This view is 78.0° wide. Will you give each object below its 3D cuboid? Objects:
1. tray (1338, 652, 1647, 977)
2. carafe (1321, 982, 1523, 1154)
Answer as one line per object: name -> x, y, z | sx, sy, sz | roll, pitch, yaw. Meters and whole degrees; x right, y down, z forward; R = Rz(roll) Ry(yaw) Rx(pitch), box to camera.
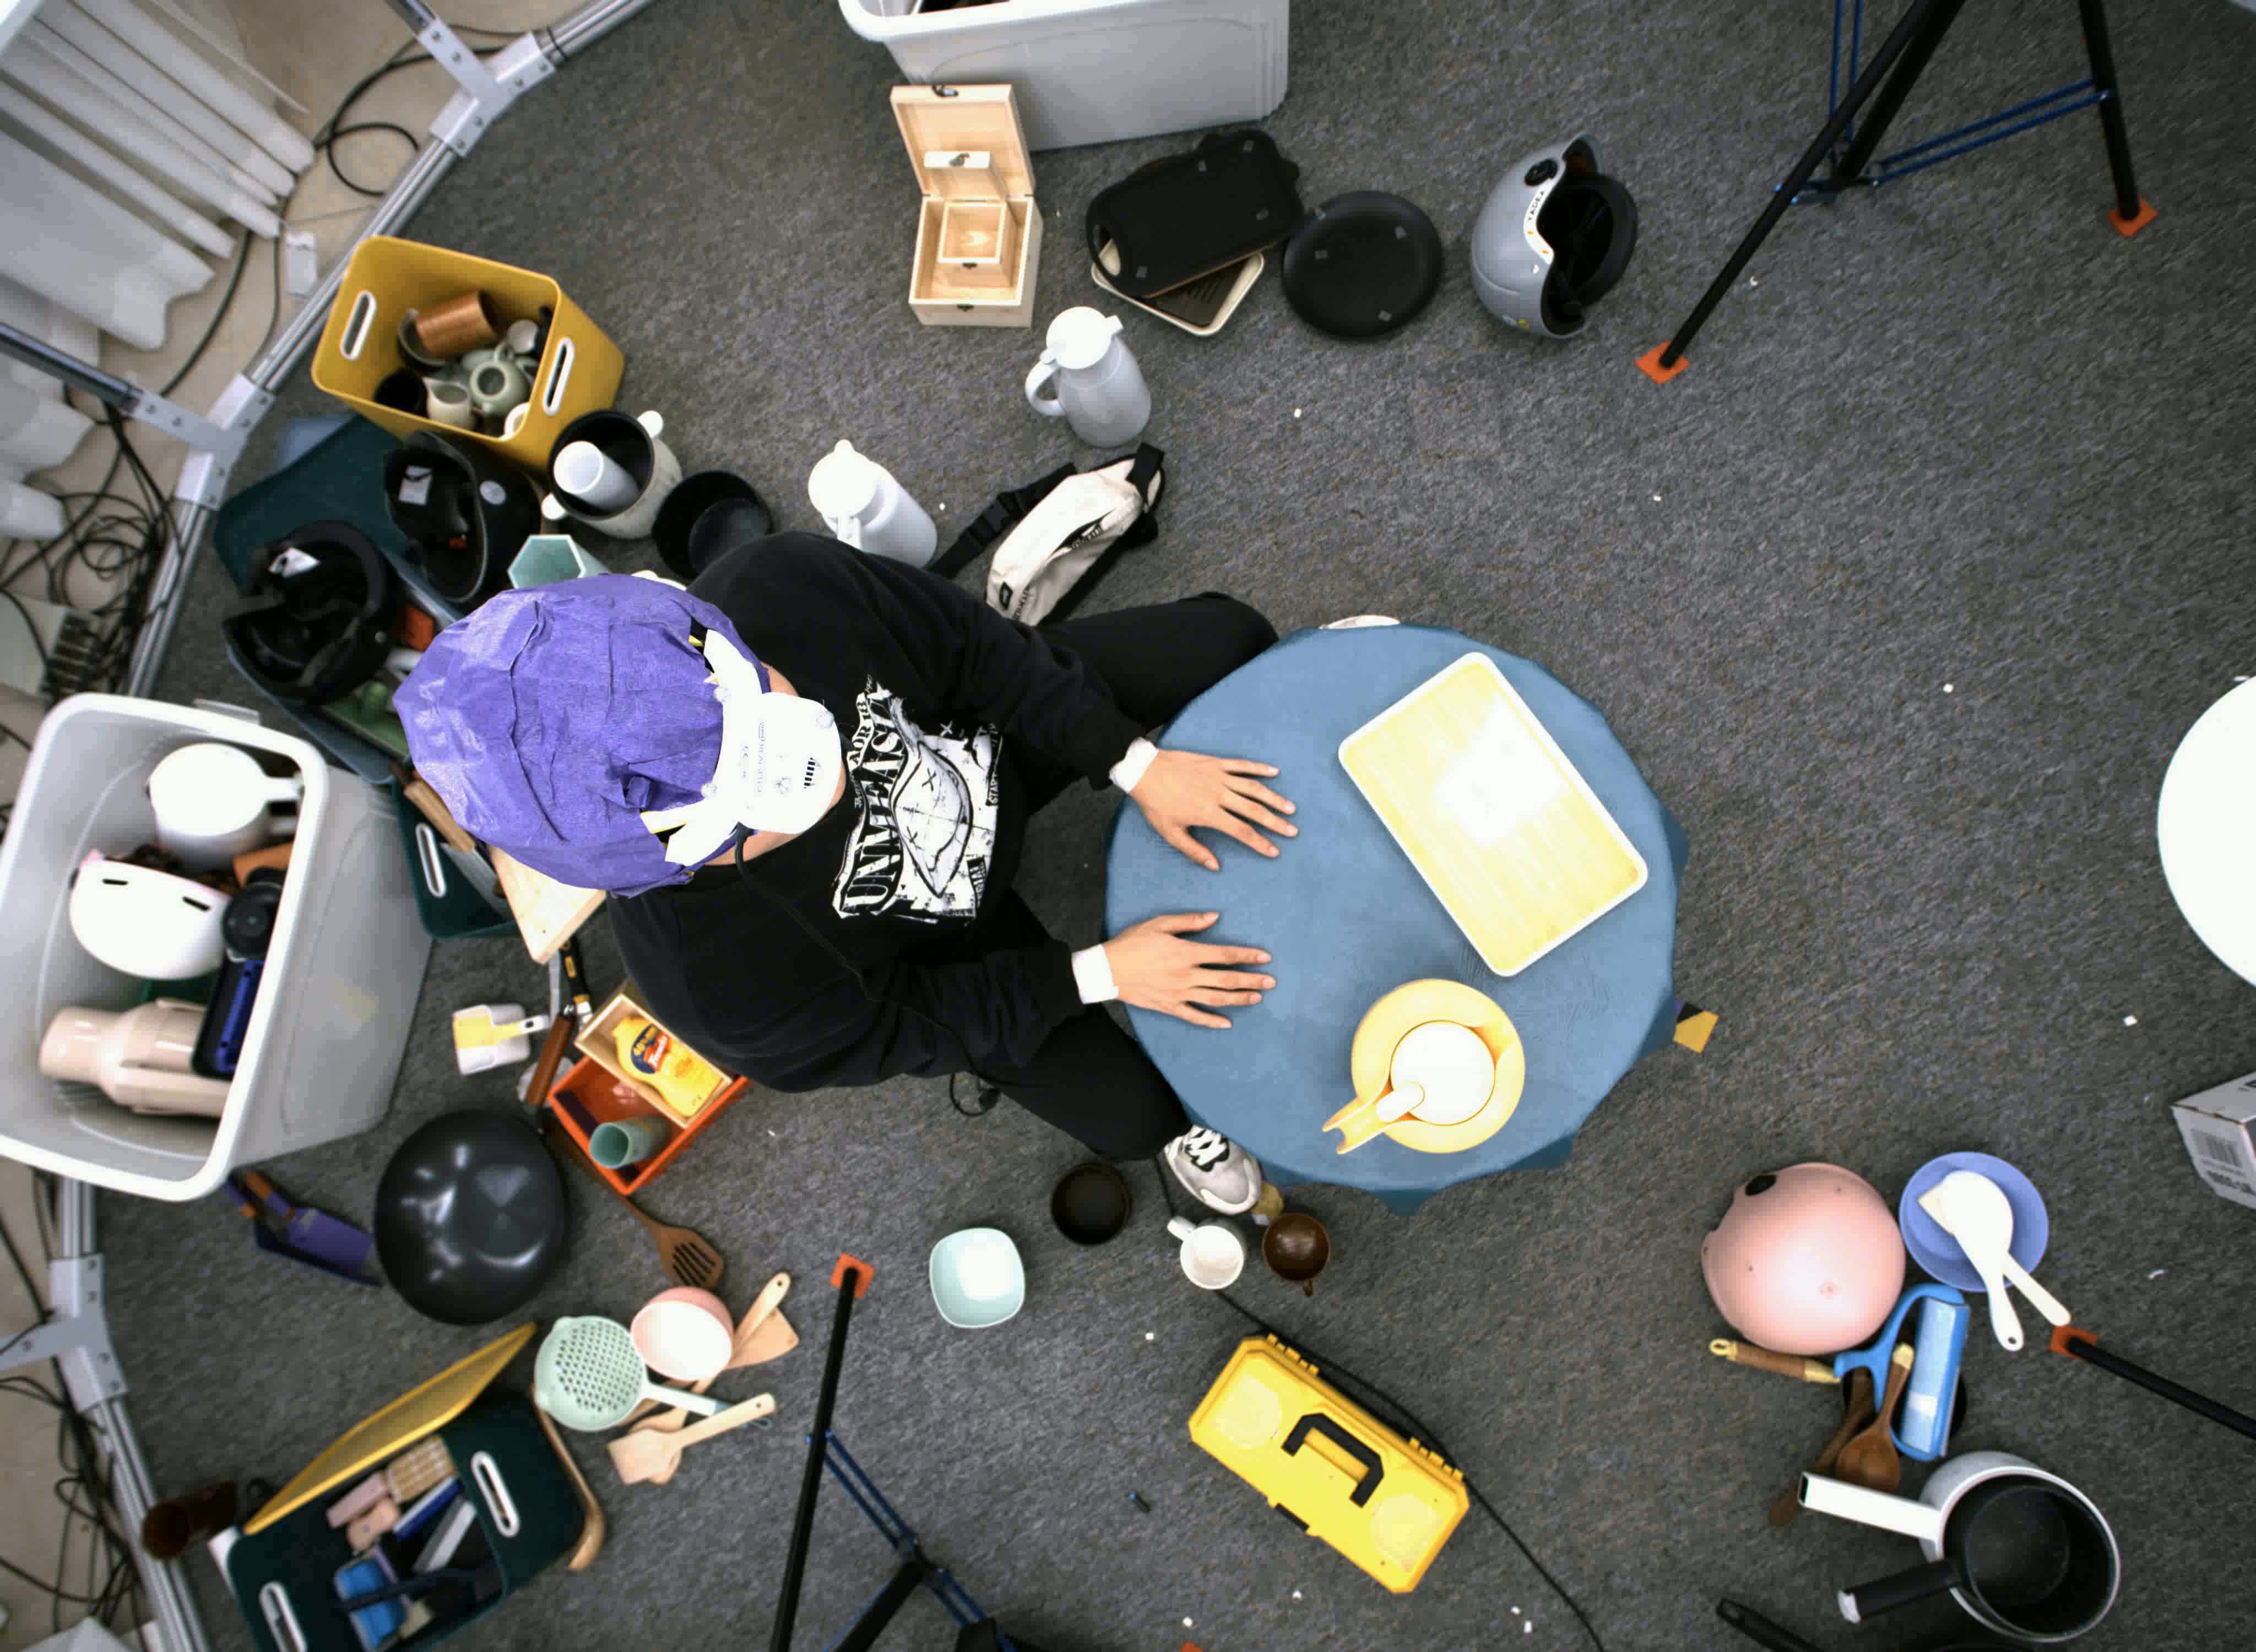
tray -> 0.376, -0.015, 1.431 | 0.192, 0.027, 0.298 | -35, 81, 7
carafe -> 0.276, 0.237, 1.319 | 0.203, 0.261, 0.162 | -32, 78, 5
